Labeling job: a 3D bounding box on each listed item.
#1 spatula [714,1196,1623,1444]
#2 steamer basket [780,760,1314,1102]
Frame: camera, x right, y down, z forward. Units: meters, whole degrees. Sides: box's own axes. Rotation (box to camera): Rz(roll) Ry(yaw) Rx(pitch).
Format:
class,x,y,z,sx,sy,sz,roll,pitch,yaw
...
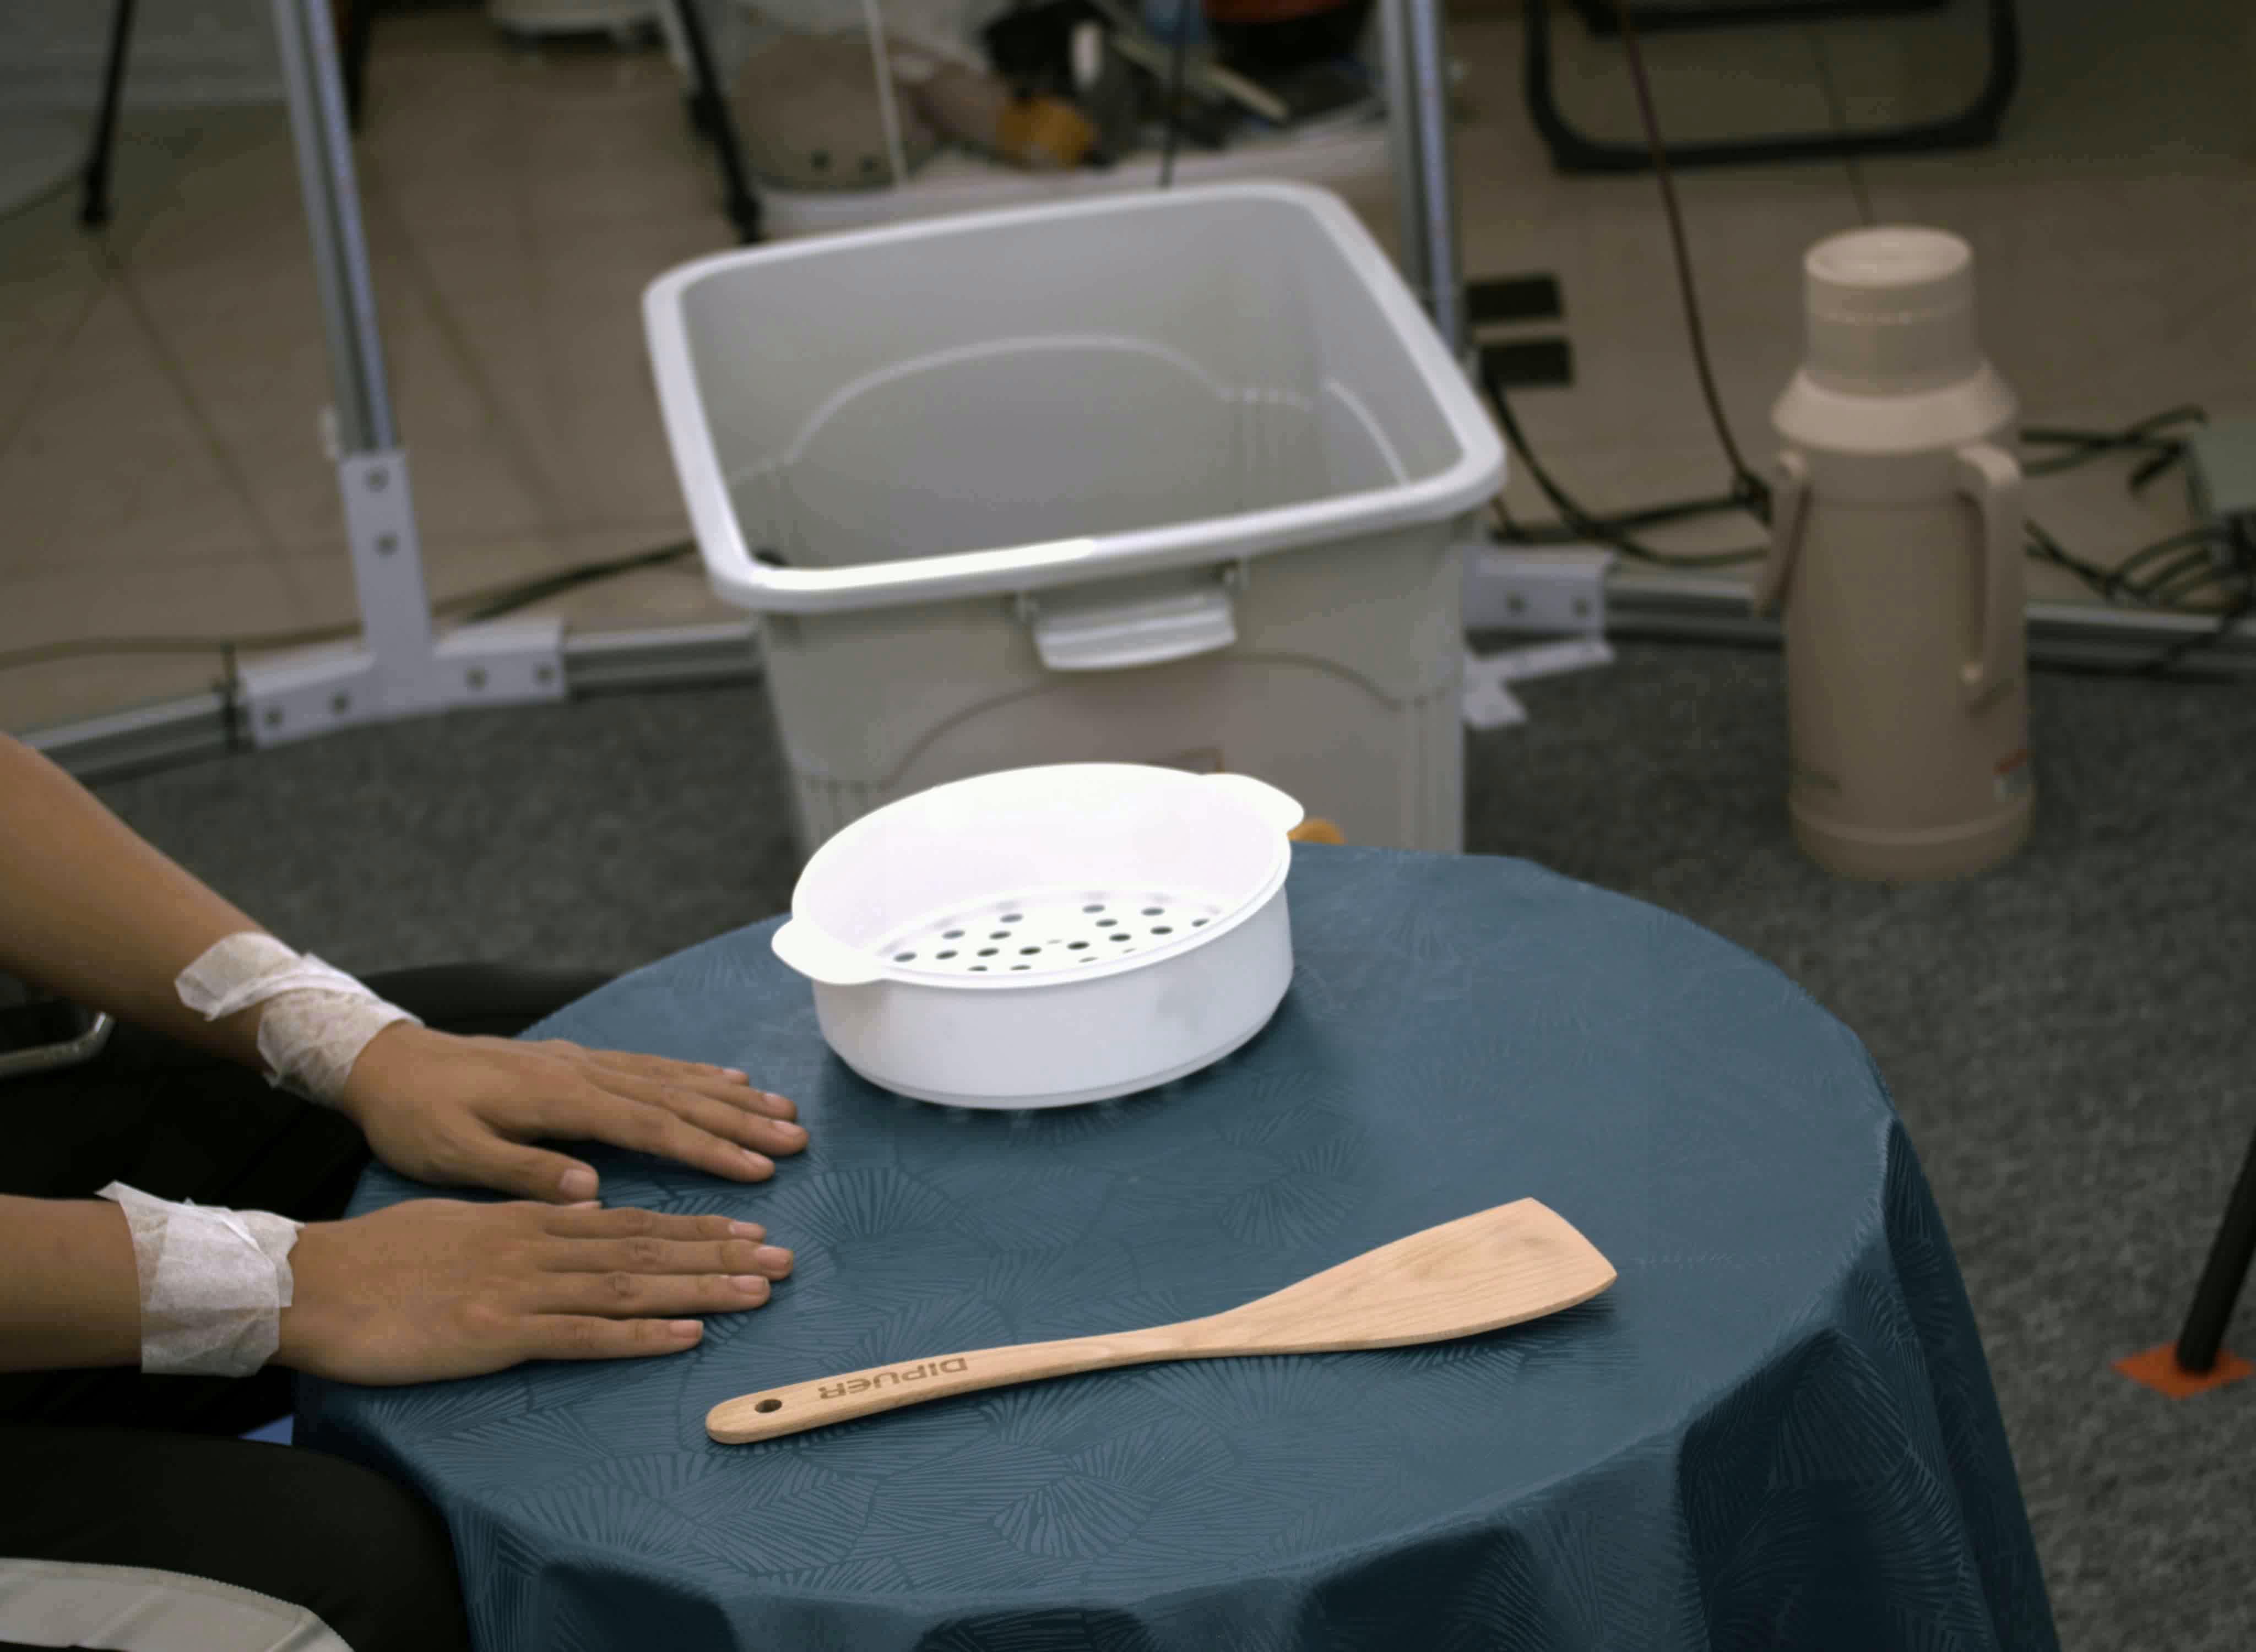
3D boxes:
class,x,y,z,sx,sy,sz,roll,pitch,yaw
spatula,0.012,0.181,2.037,0.327,0.017,0.079,-10,24,-7
steamer basket,-0.027,0.043,2.283,0.229,0.070,0.200,-20,27,-25
